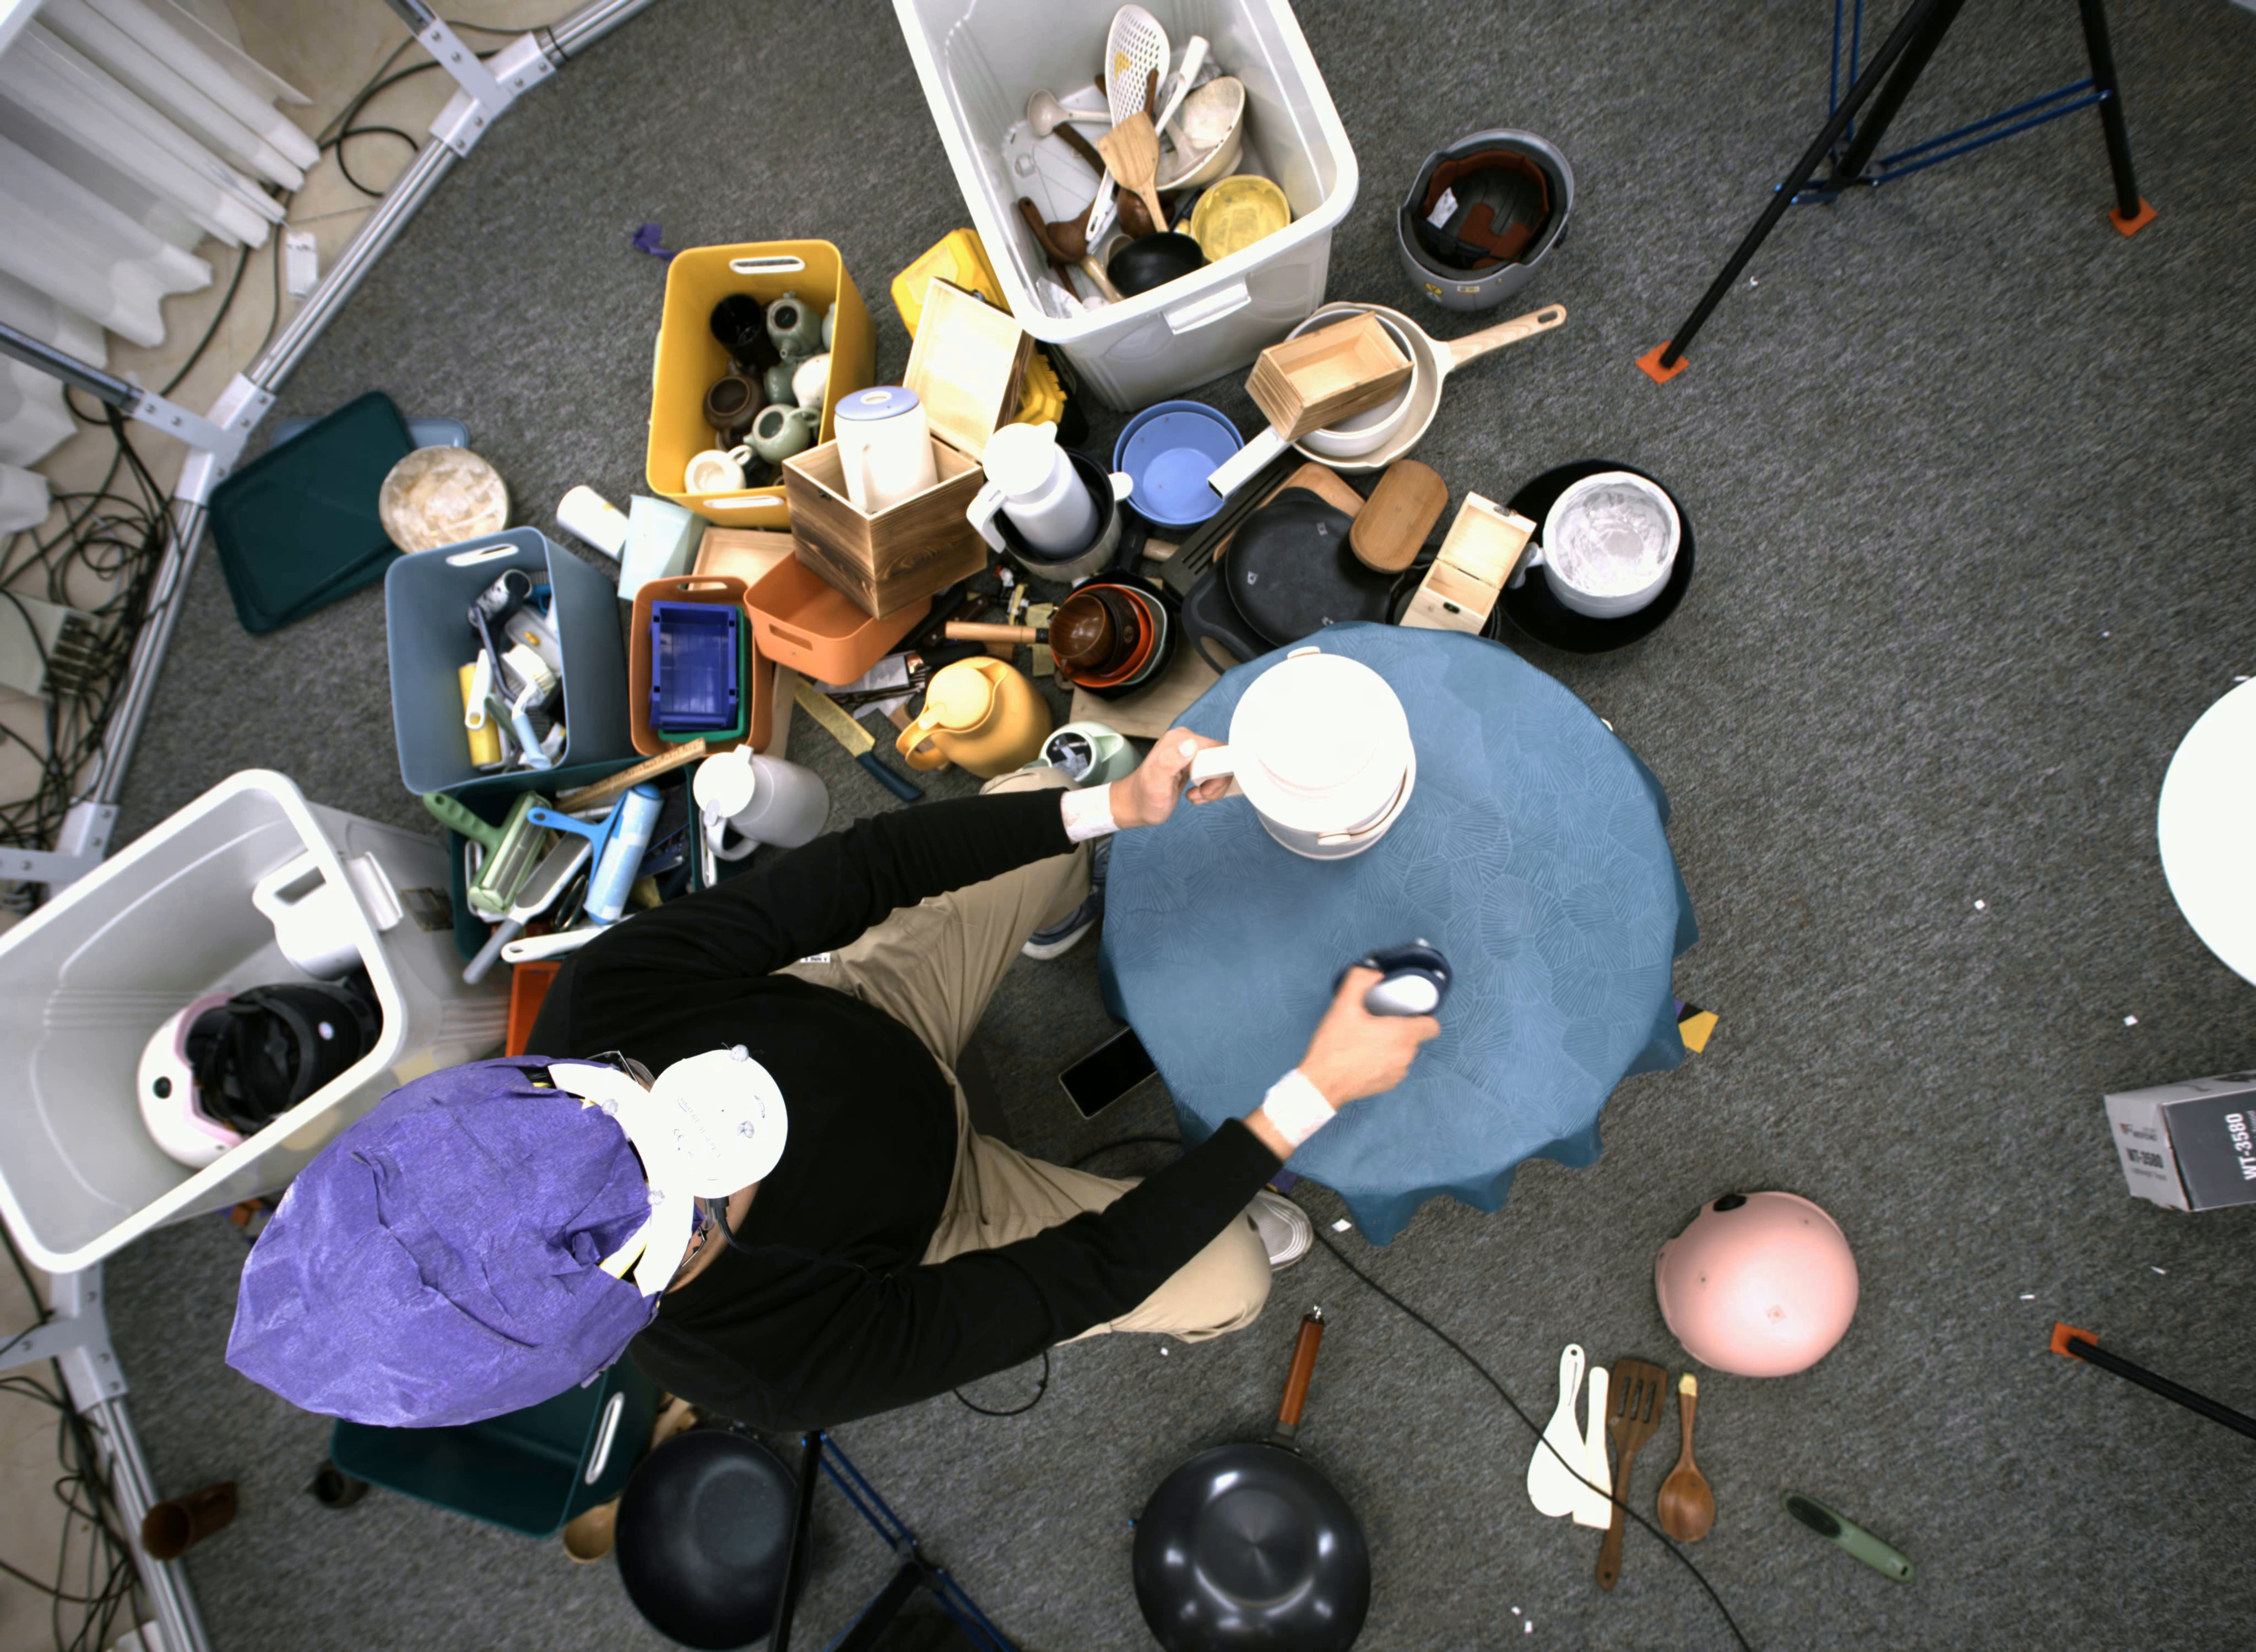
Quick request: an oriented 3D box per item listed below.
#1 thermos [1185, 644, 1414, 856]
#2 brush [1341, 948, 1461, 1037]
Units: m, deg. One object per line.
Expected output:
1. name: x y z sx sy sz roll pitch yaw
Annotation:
1. thermos: 0.165 -0.065 1.286 0.208 0.406 0.174 -10 84 8
2. brush: 0.267 0.160 1.357 0.123 0.060 0.068 -19 108 25
